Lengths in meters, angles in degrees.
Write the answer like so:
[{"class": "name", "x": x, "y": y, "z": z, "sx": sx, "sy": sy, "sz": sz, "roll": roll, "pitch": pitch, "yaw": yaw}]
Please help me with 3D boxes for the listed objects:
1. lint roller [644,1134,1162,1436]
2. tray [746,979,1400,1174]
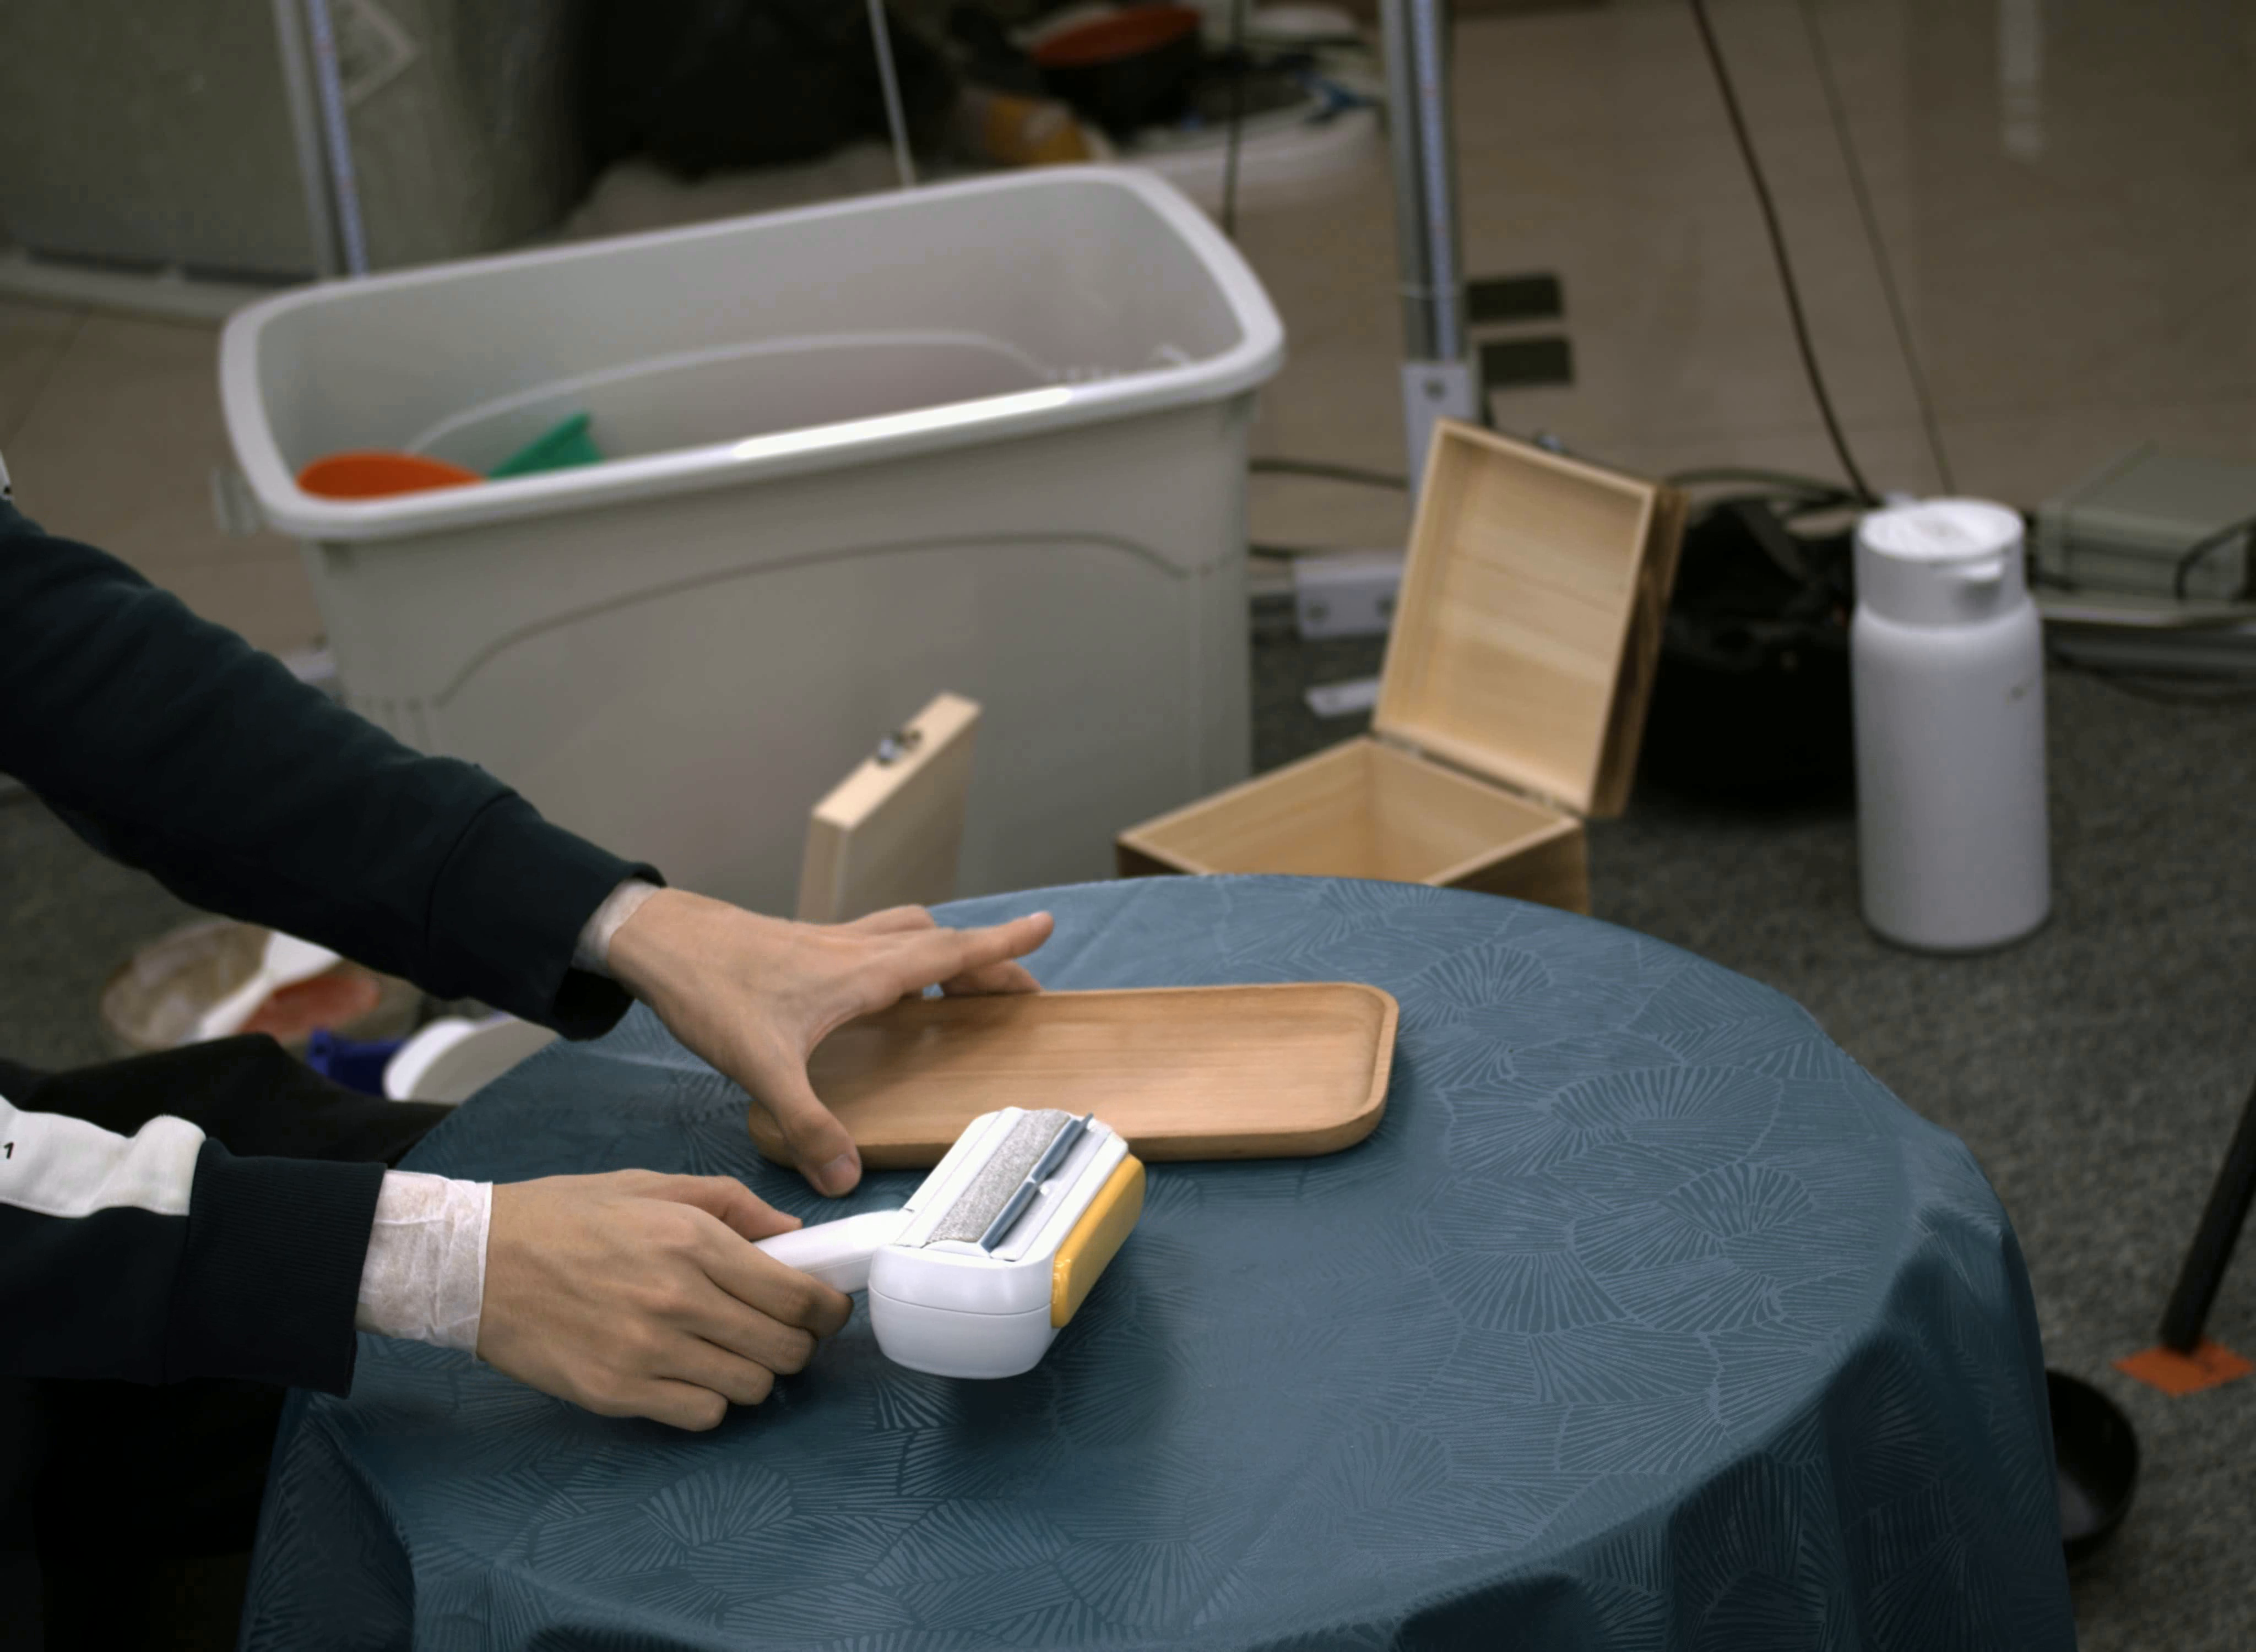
[{"class": "lint roller", "x": -0.094, "y": 0.175, "z": 2.052, "sx": 0.192, "sy": 0.075, "sz": 0.191, "roll": -13, "pitch": 12, "yaw": 21}, {"class": "tray", "x": -0.020, "y": 0.099, "z": 2.217, "sx": 0.250, "sy": 0.023, "sz": 0.129, "roll": -3, "pitch": 23, "yaw": 10}]
